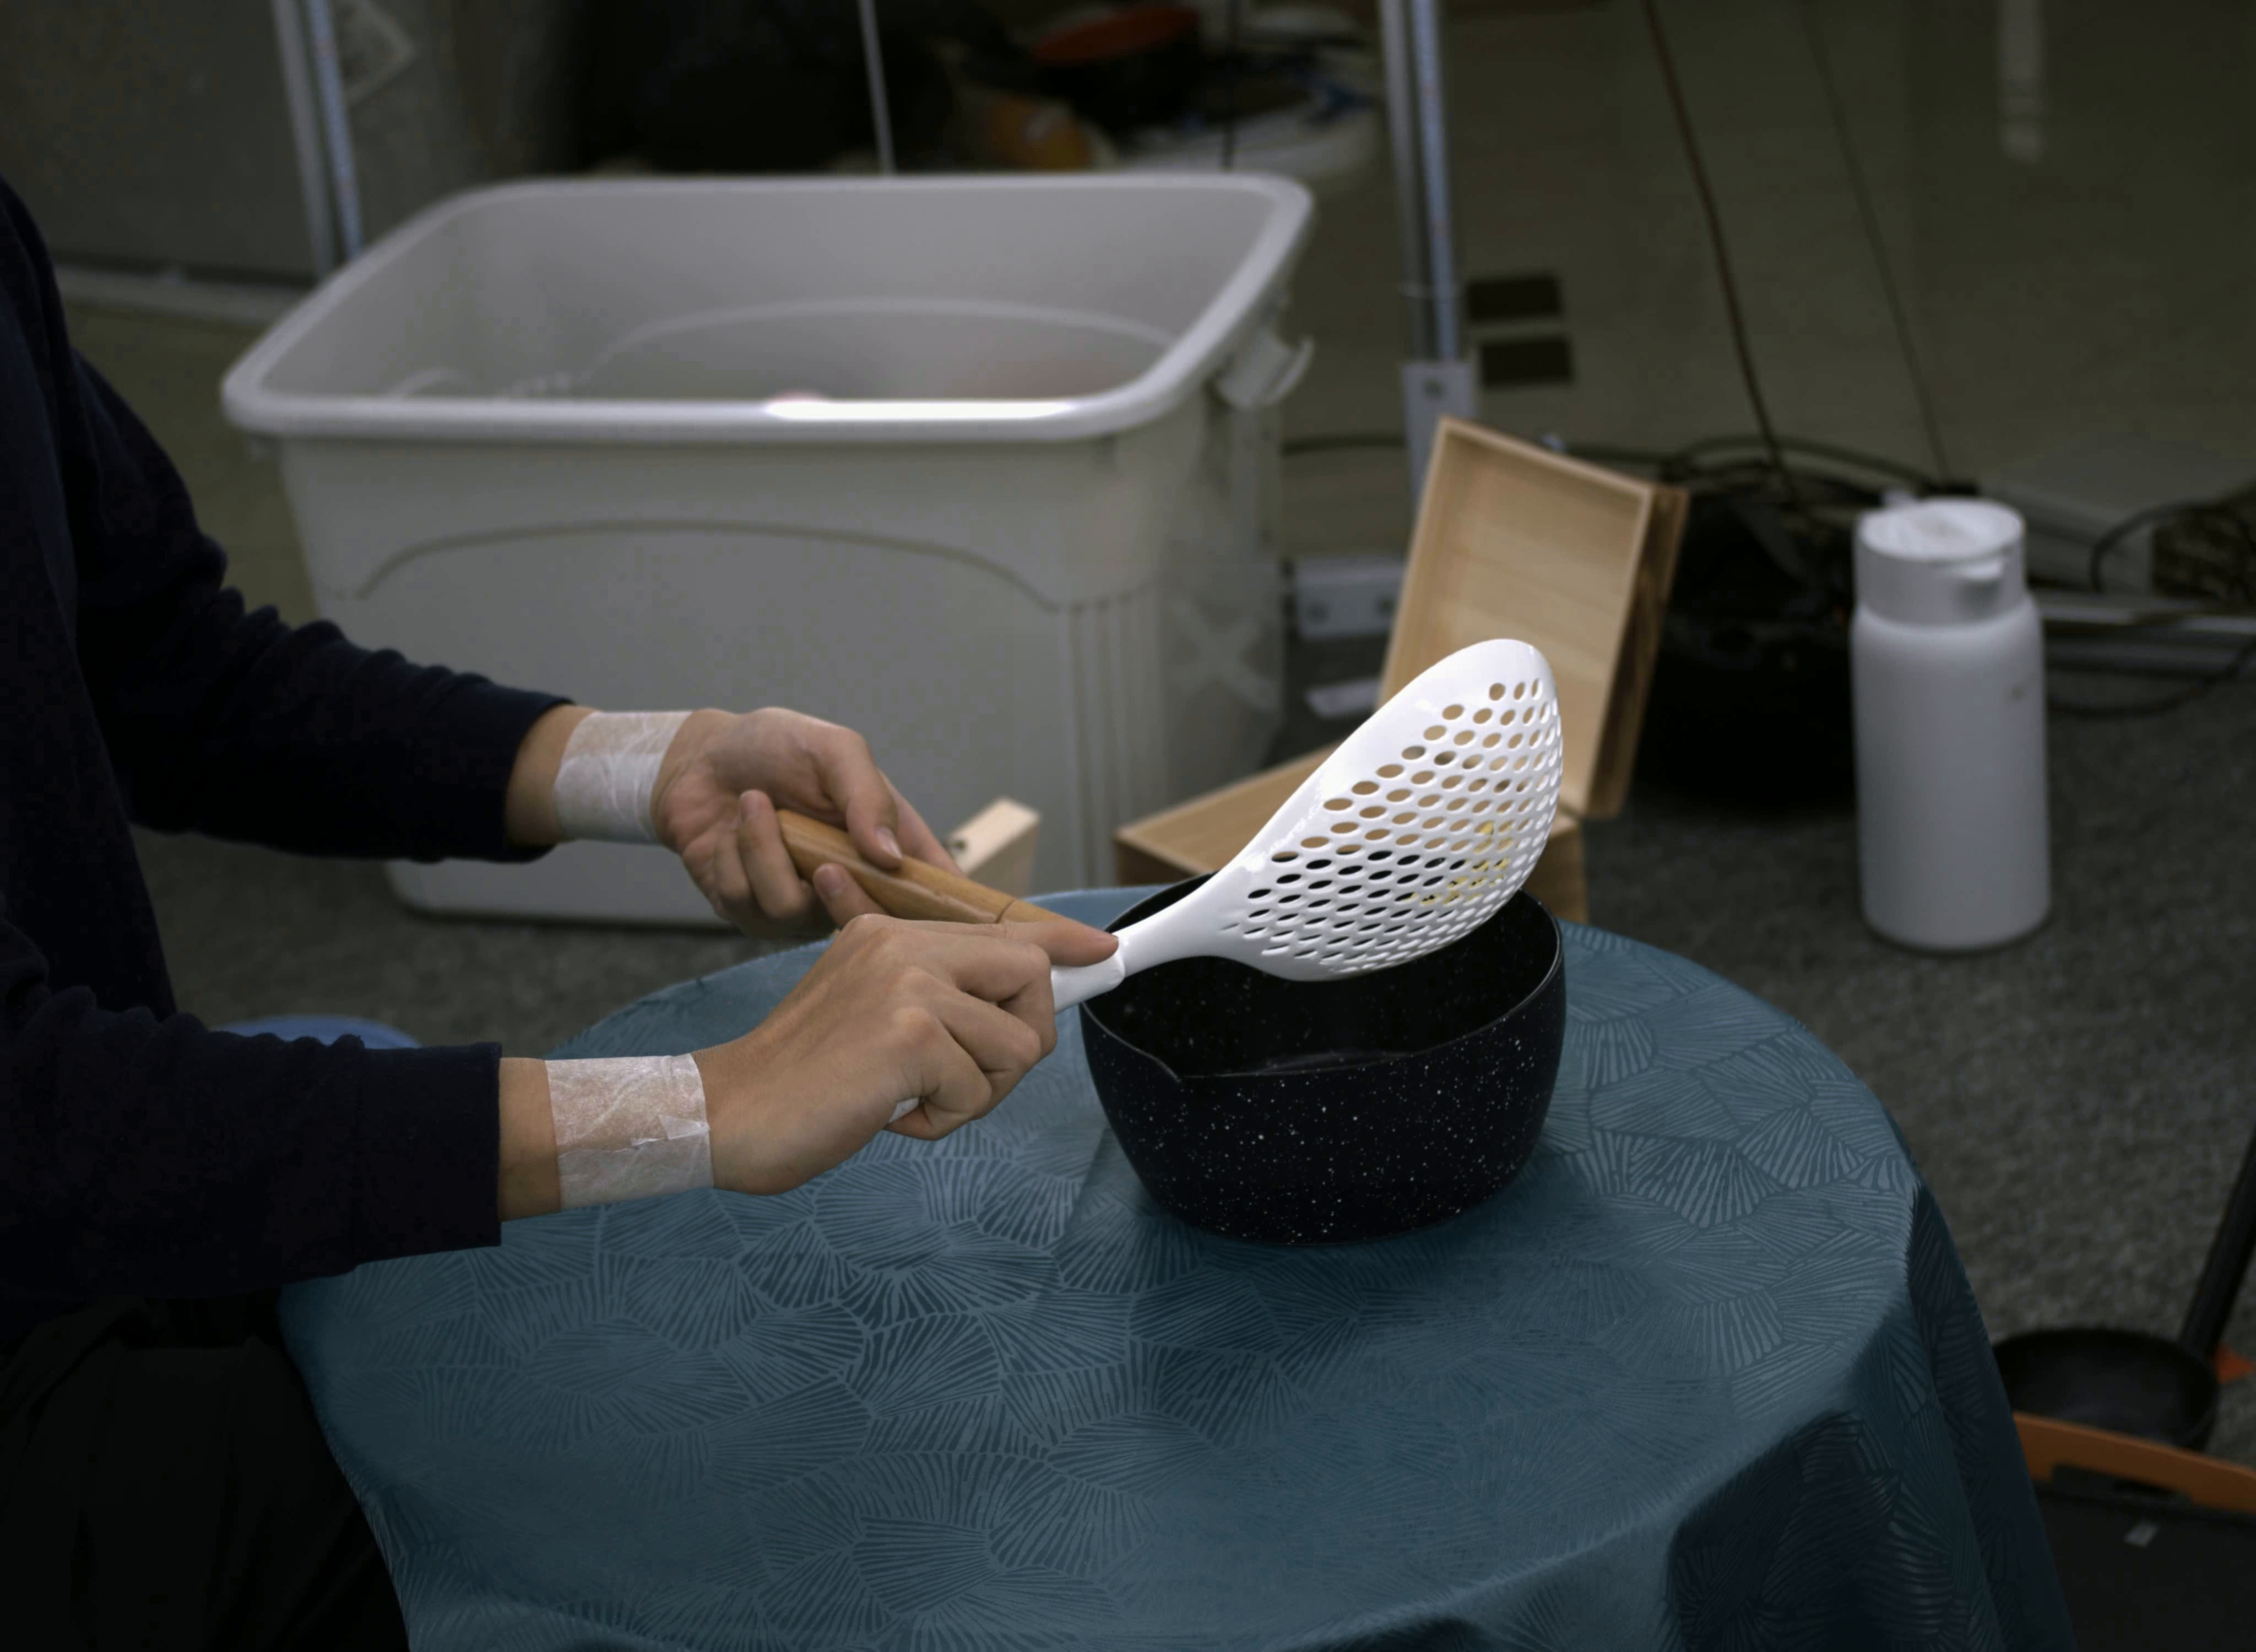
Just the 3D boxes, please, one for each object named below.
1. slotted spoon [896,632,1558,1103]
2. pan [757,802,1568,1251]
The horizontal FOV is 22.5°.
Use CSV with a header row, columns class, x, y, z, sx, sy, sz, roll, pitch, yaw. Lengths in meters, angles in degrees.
class,x,y,z,sx,sy,sz,roll,pitch,yaw
slotted spoon,0.038,0.033,1.987,0.345,0.139,0.050,-21,44,-36
pan,0.006,0.066,2.172,0.341,0.110,0.205,10,31,28
